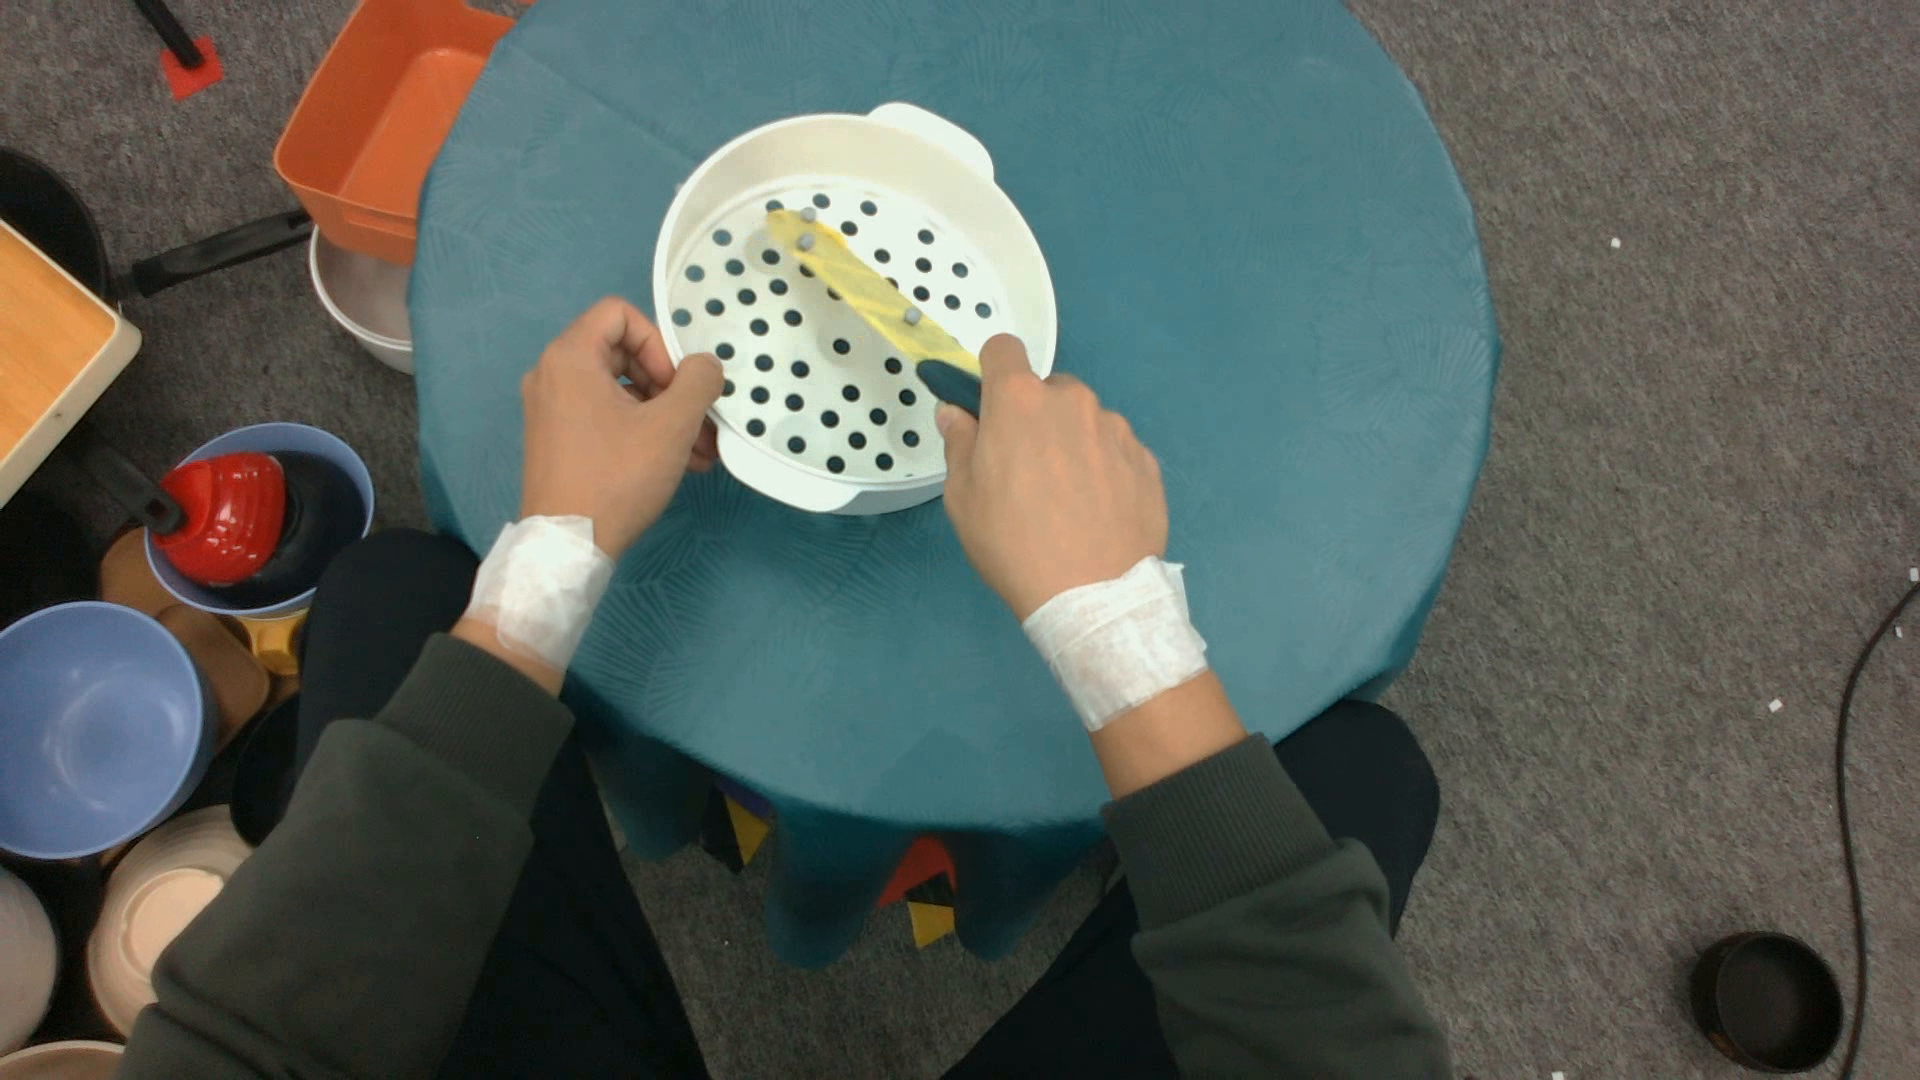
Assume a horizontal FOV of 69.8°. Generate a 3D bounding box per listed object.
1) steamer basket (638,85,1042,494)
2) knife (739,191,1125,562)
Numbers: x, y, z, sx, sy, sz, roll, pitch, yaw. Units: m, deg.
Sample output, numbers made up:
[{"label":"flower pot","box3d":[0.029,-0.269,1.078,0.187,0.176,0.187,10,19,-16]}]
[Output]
[{"label":"steamer basket","box3d":[-0.063,-0.122,0.704,0.202,0.069,0.231,25,69,-8]},{"label":"knife","box3d":[-0.017,-0.089,0.654,0.290,0.081,0.027,47,116,28]}]
